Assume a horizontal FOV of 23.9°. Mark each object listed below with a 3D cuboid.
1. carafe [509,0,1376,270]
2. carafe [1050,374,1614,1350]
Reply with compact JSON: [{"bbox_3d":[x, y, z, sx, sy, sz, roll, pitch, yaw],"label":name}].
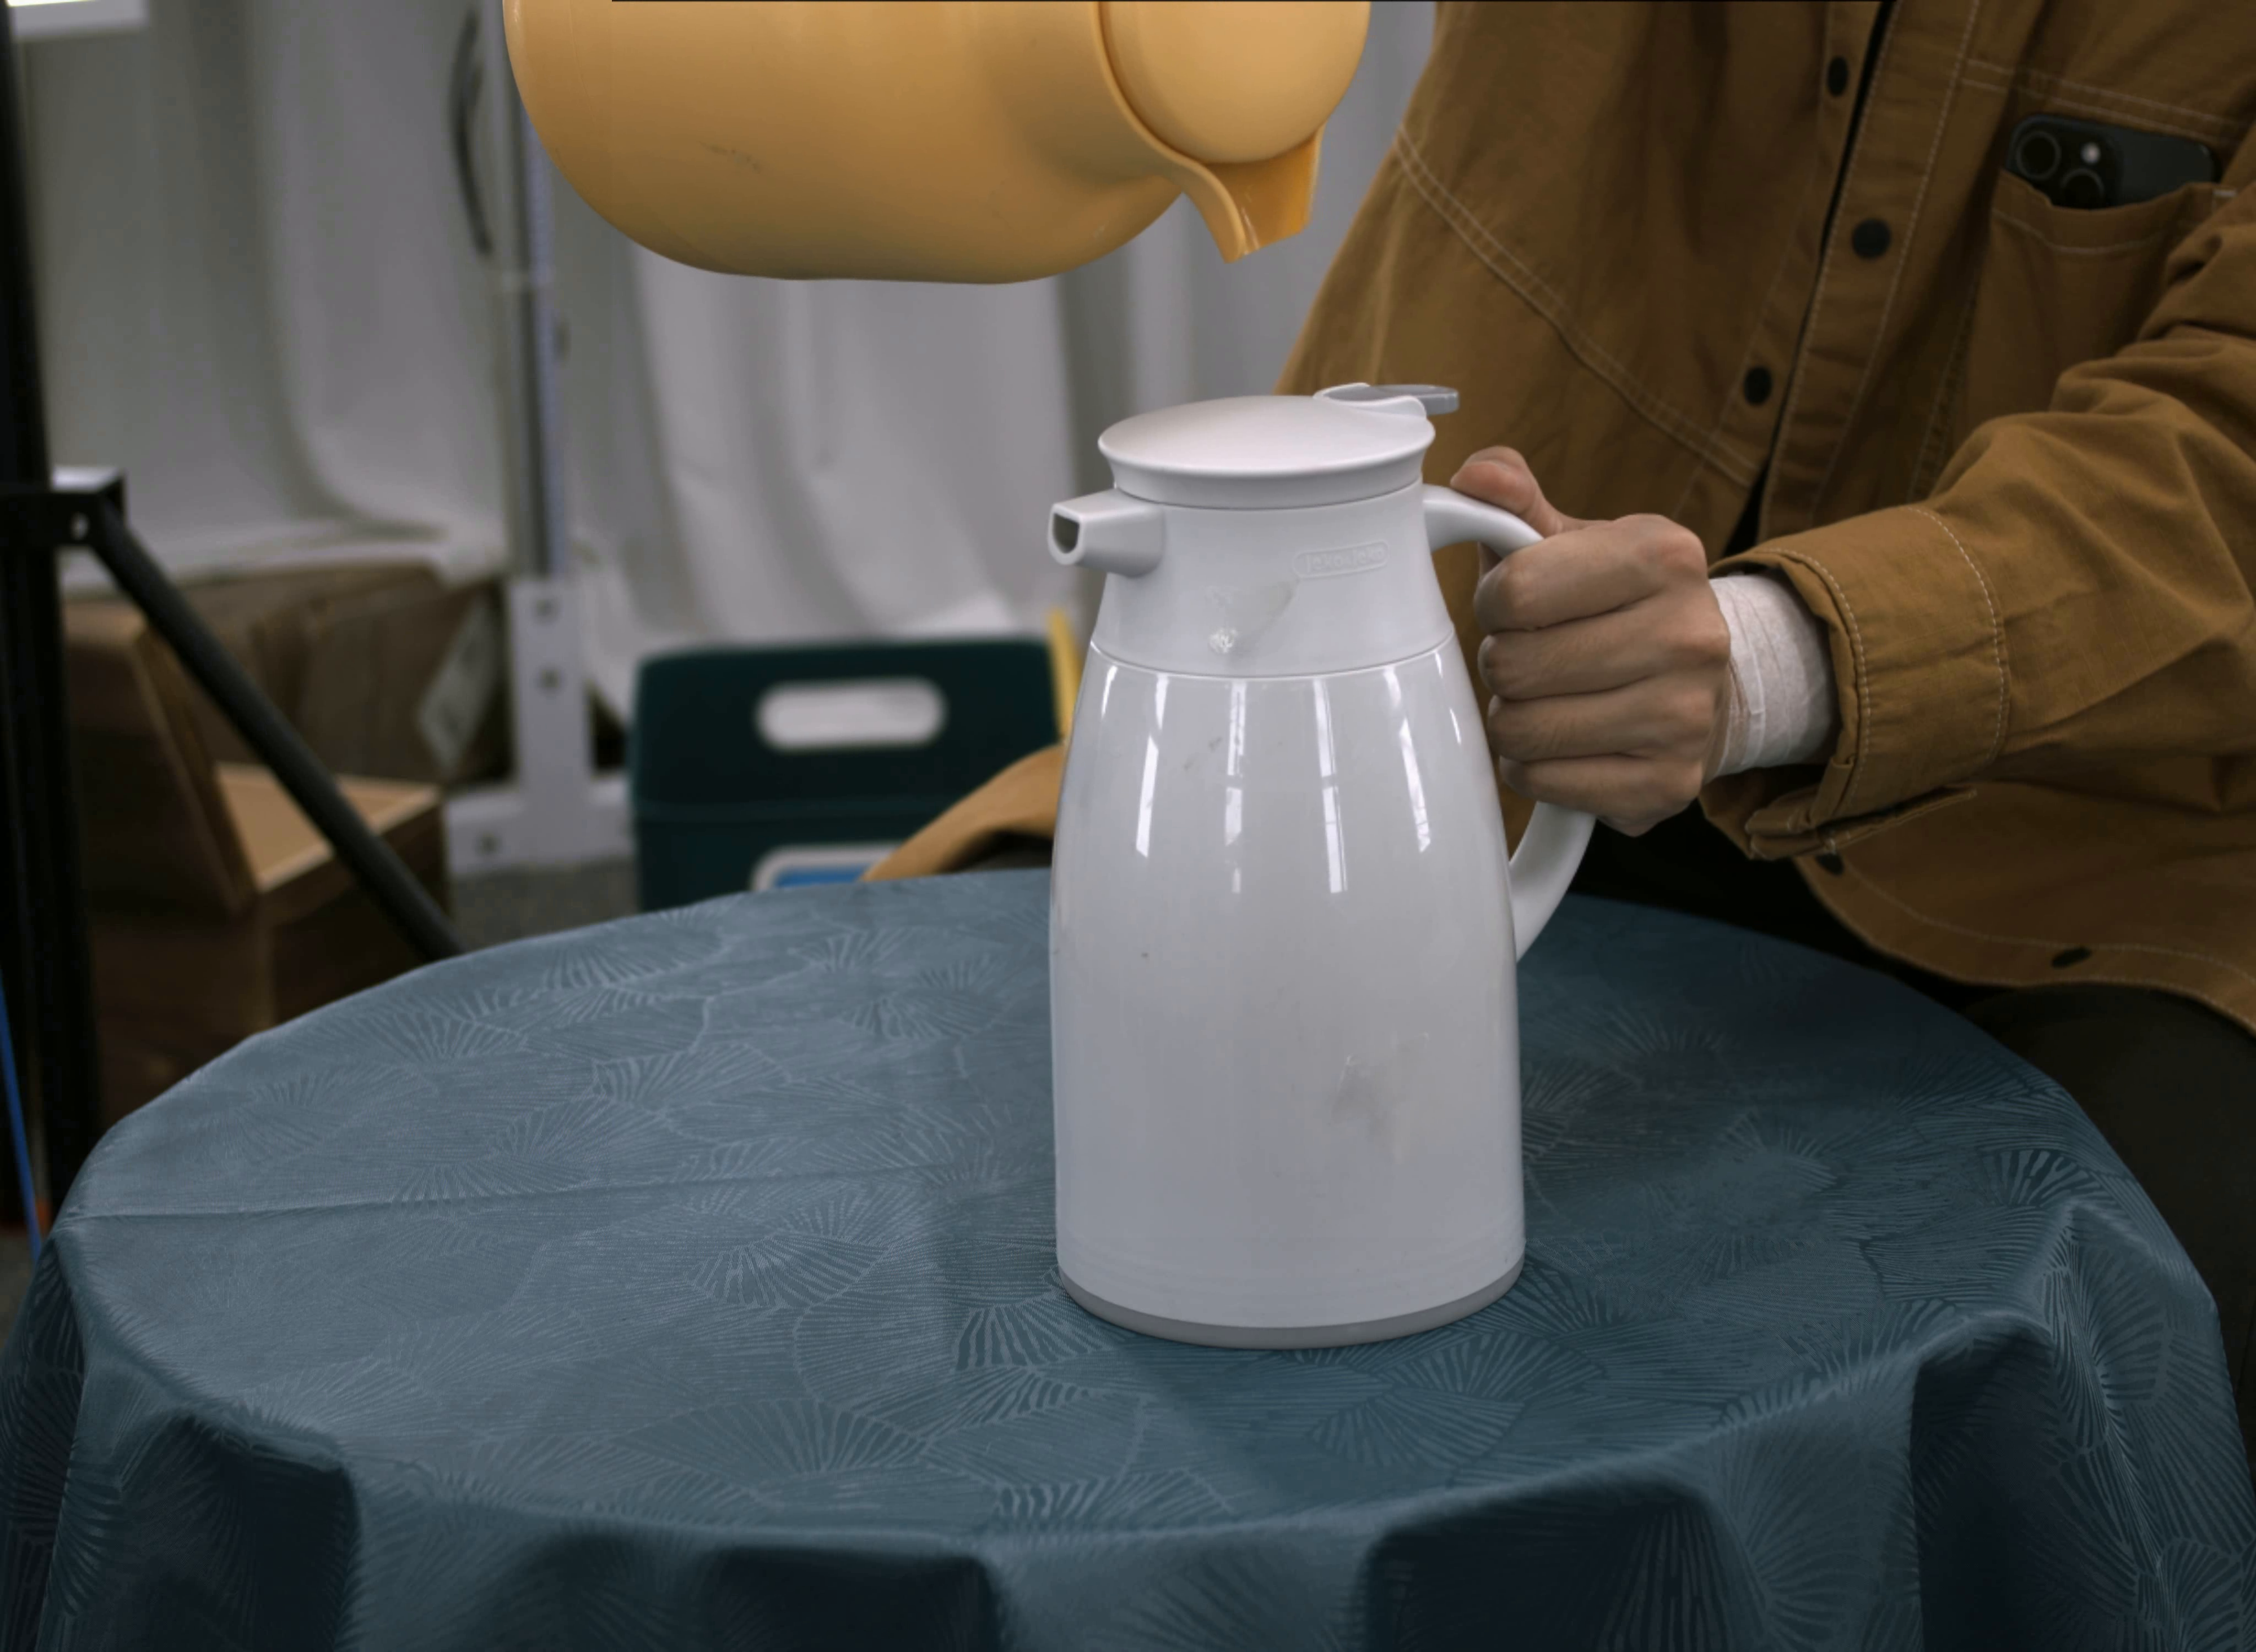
[{"bbox_3d":[-0.048,-0.255,1.480,0.160,0.202,0.266,-23,23,-36],"label":"carafe"},{"bbox_3d":[0.059,0.002,1.467,0.164,0.248,0.135,-9,16,-25],"label":"carafe"}]
